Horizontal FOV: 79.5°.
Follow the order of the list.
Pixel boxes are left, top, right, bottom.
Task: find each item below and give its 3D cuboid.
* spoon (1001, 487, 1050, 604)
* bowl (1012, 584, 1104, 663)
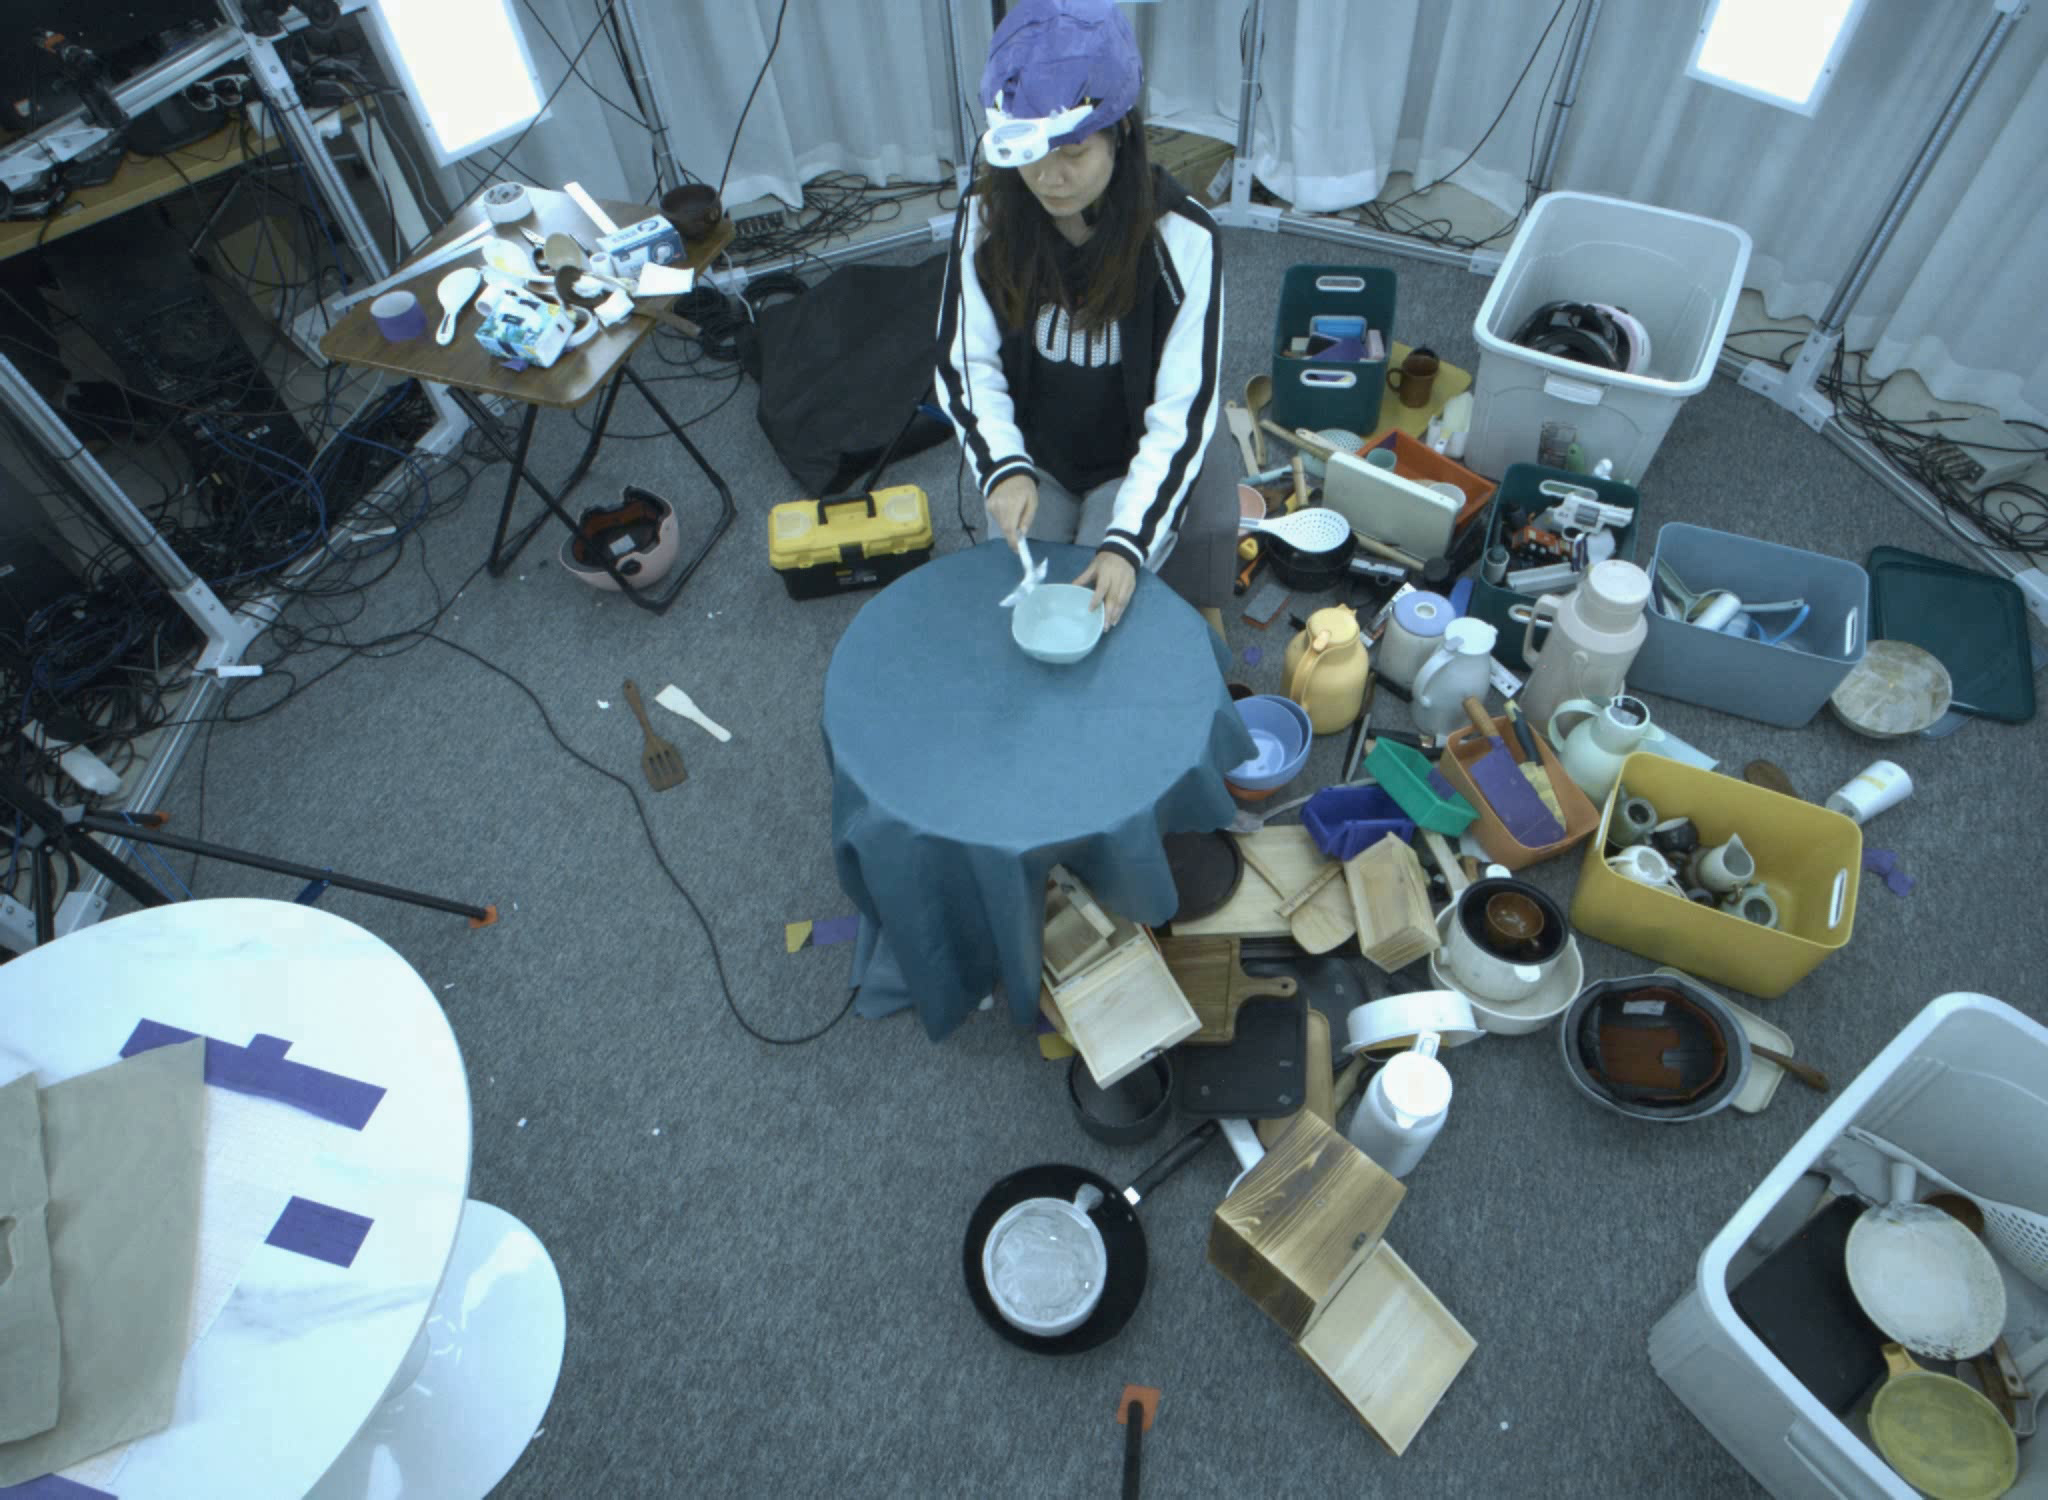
[{"bbox_3d":[-0.013,-0.317,1.813,0.100,0.061,0.273,-38,45,28],"label":"spoon"},{"bbox_3d":[0.053,-0.185,1.885,0.151,0.059,0.150,0,55,1],"label":"bowl"}]
